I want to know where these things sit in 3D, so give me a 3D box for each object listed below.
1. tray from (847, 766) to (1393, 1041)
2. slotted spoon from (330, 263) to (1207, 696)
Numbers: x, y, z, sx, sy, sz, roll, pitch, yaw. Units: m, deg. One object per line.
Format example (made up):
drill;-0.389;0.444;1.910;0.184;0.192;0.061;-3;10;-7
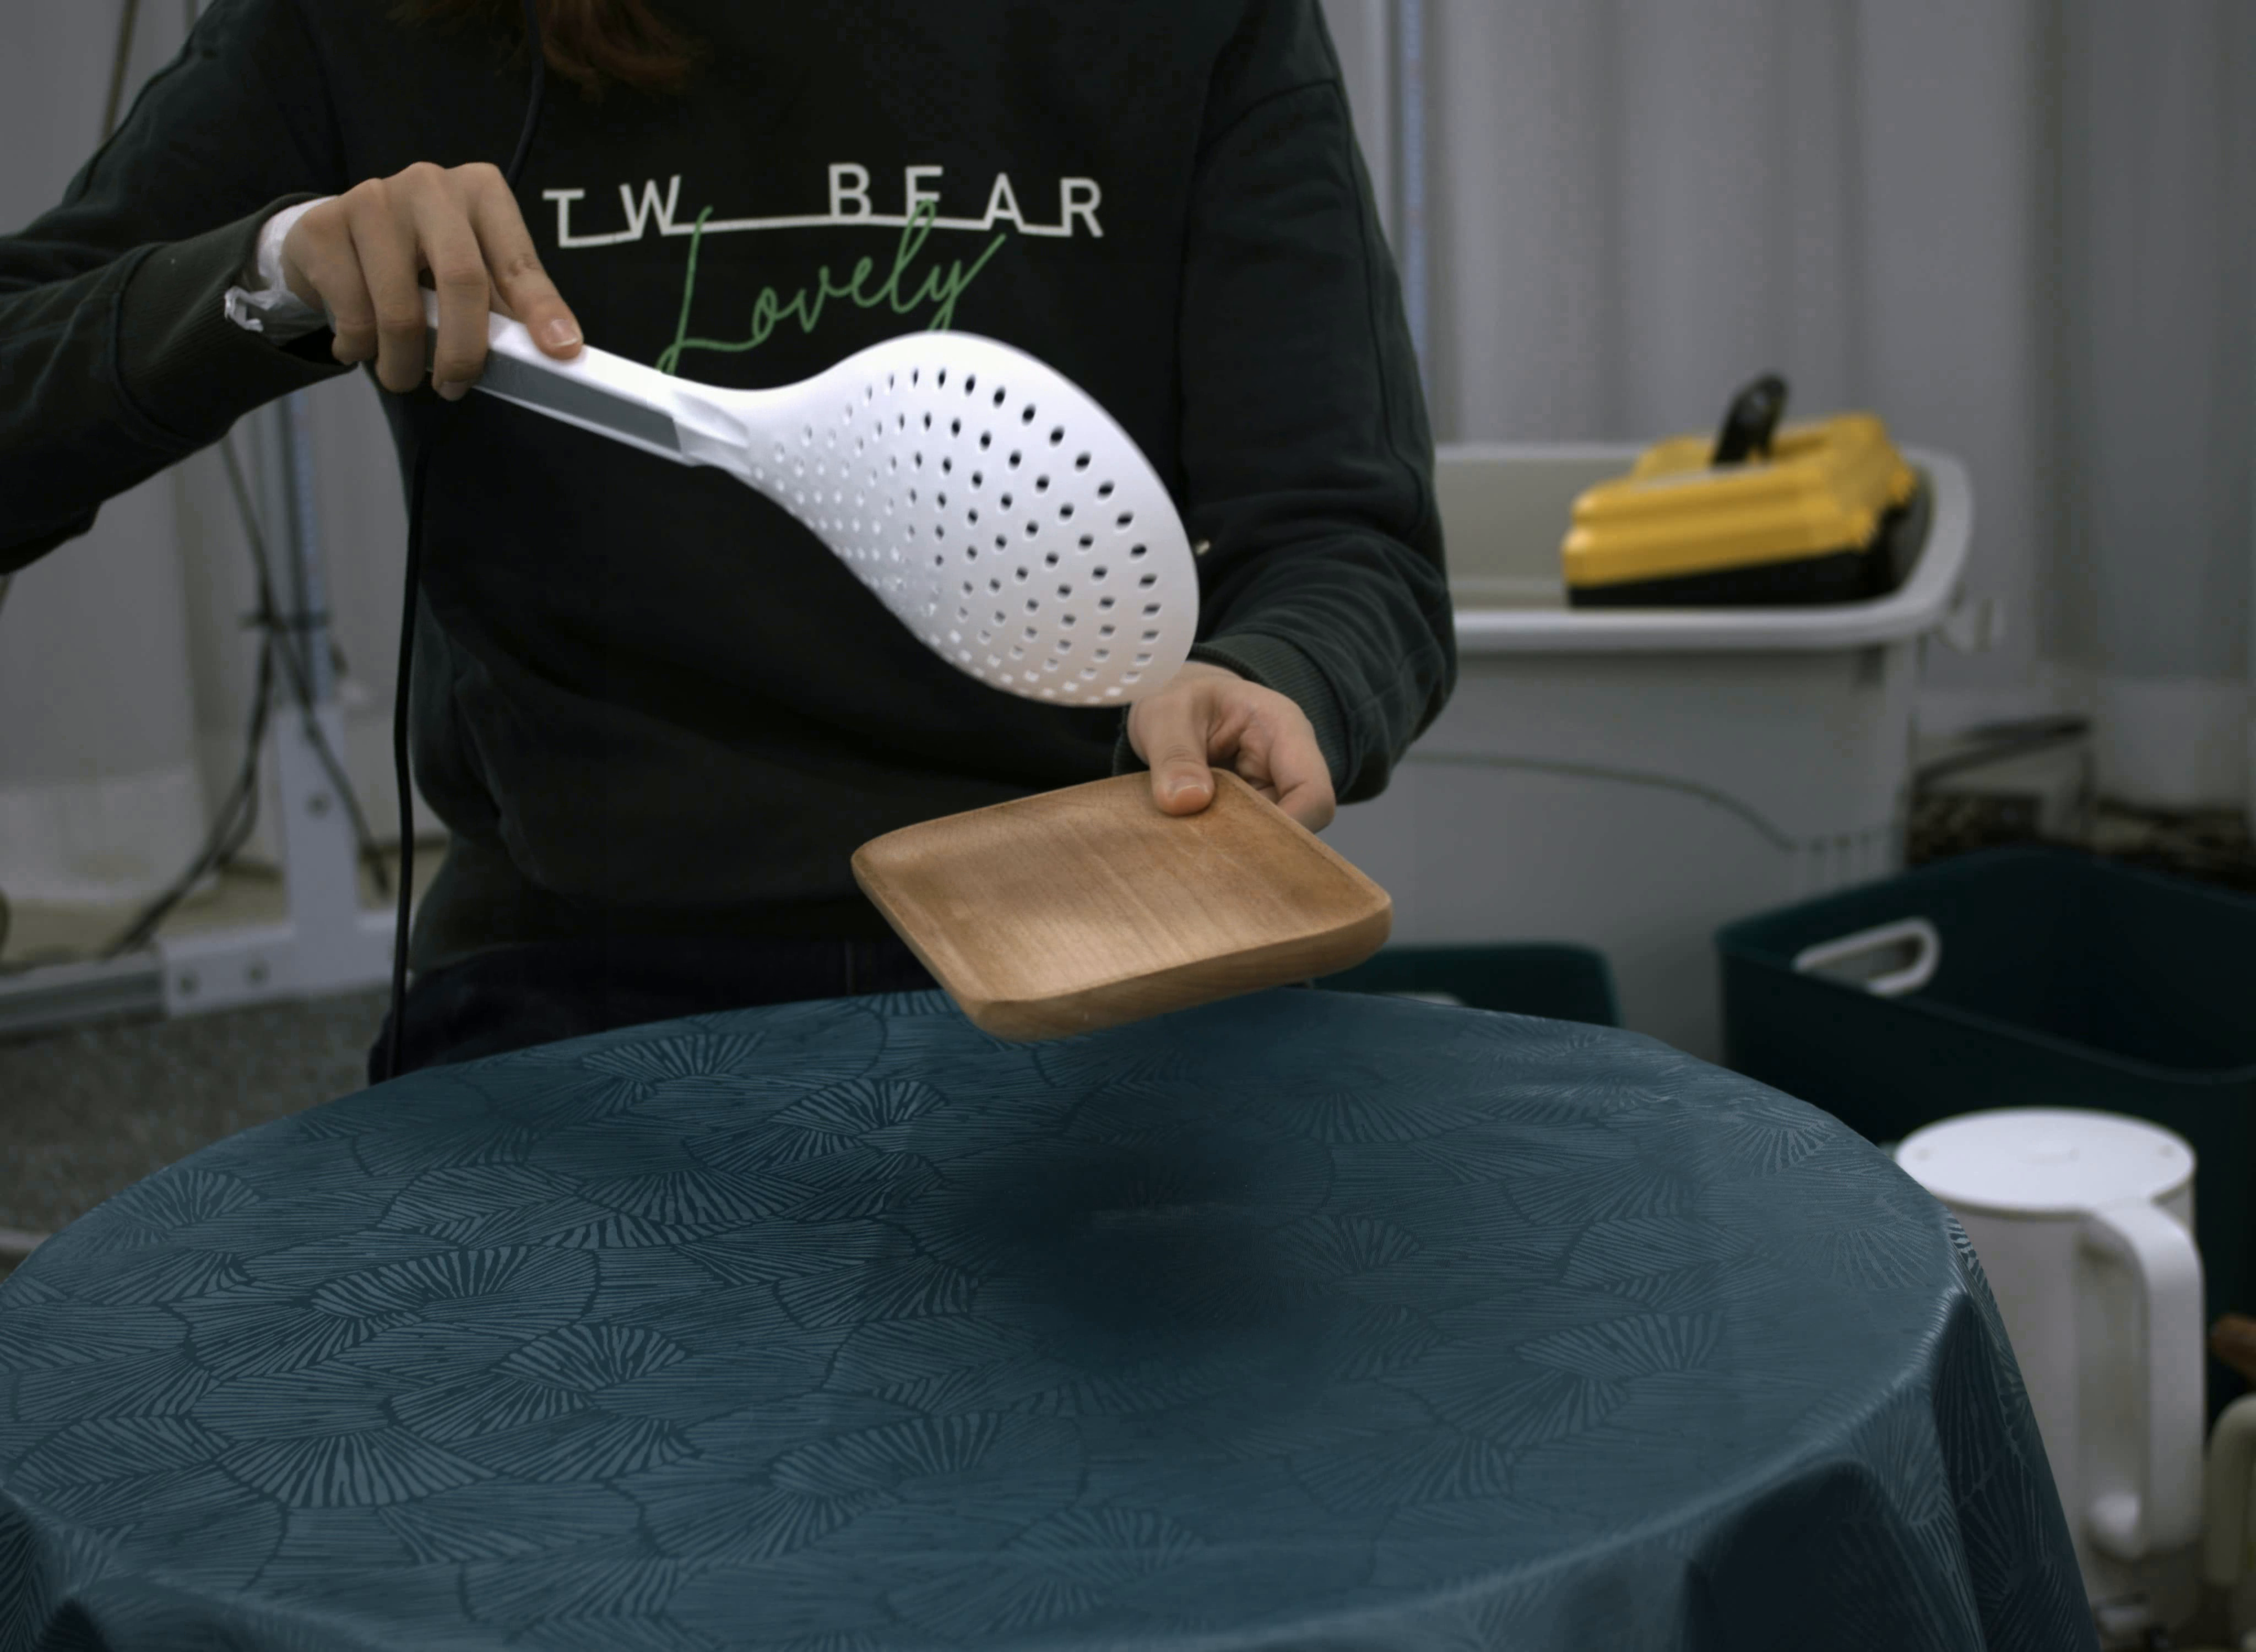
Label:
tray;-0.006;0.021;1.646;0.130;0.023;0.252;-11;12;-10
slotted spoon;-0.123;-0.126;1.744;0.352;0.134;0.046;24;46;35
